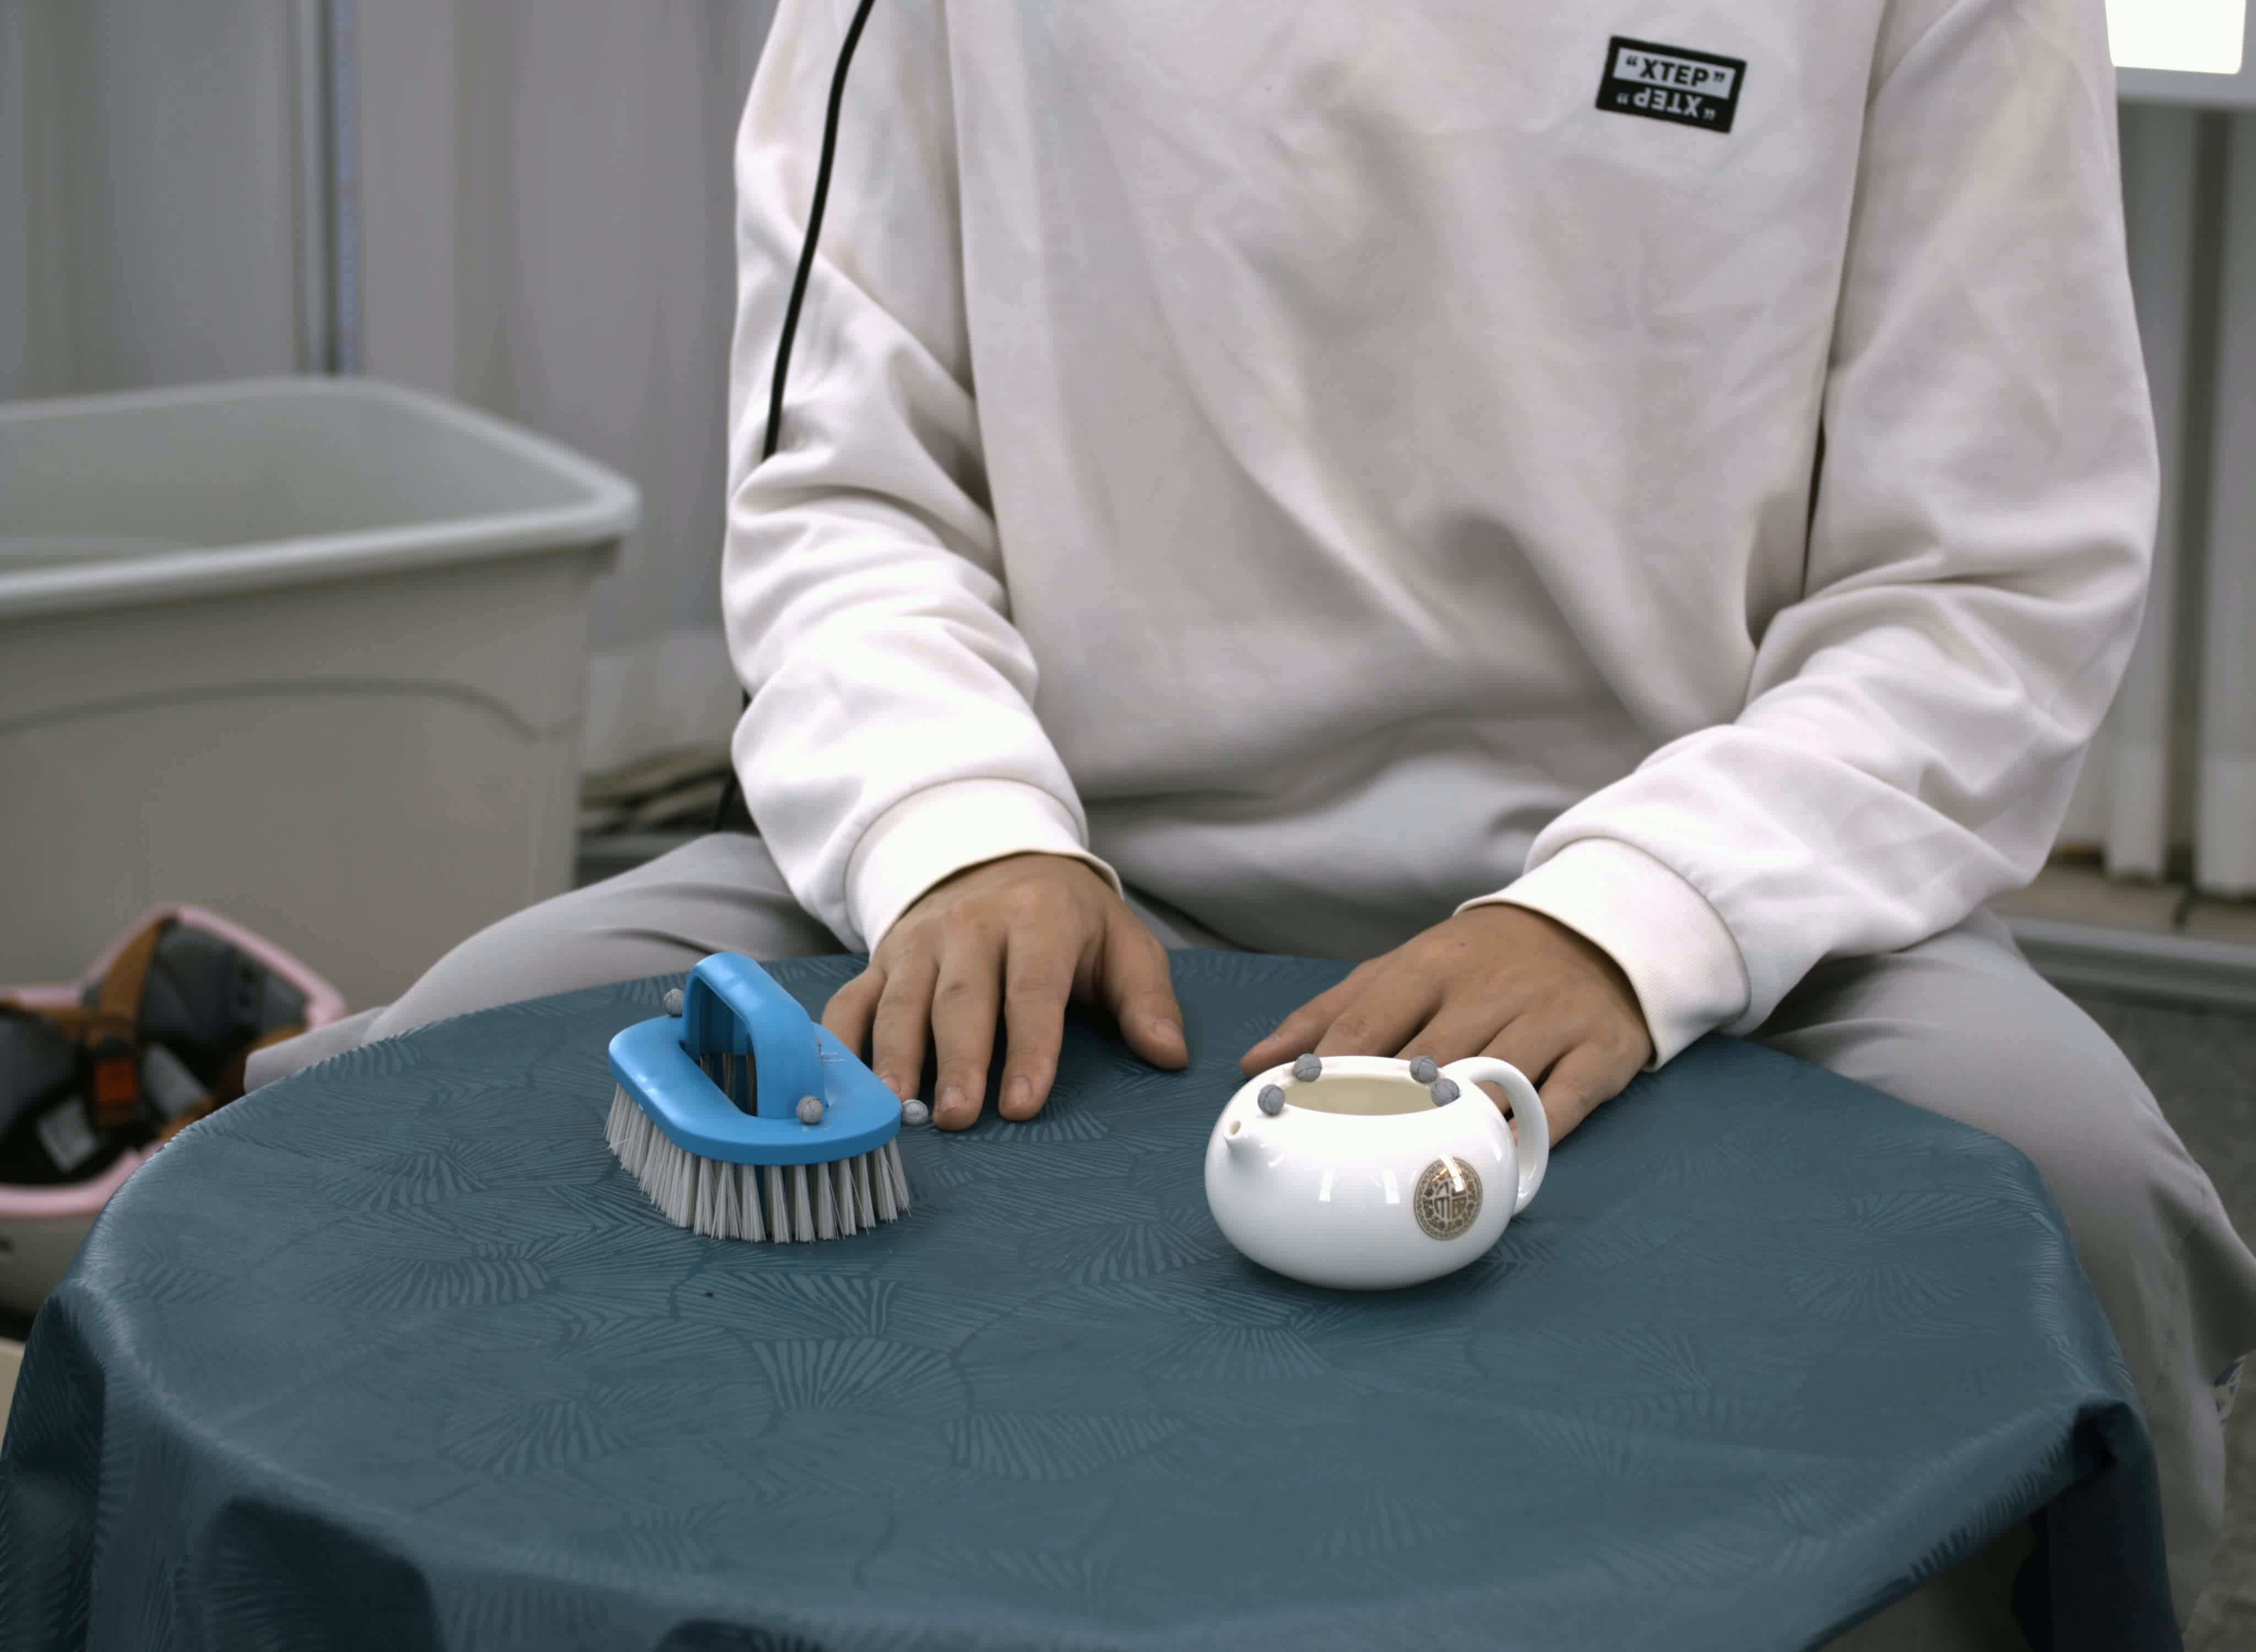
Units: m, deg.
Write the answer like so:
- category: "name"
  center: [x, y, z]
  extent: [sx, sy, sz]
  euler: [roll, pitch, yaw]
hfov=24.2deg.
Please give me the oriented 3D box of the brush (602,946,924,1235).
- category: "brush"
  center: [-0.117, 0.075, 1.635]
  extent: [0.084, 0.064, 0.140]
  euler: [-10, 17, -17]

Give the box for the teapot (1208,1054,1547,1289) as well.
- category: "teapot"
  center: [0.078, 0.101, 1.572]
  extent: [0.128, 0.057, 0.092]
  euler: [-12, 16, -43]
